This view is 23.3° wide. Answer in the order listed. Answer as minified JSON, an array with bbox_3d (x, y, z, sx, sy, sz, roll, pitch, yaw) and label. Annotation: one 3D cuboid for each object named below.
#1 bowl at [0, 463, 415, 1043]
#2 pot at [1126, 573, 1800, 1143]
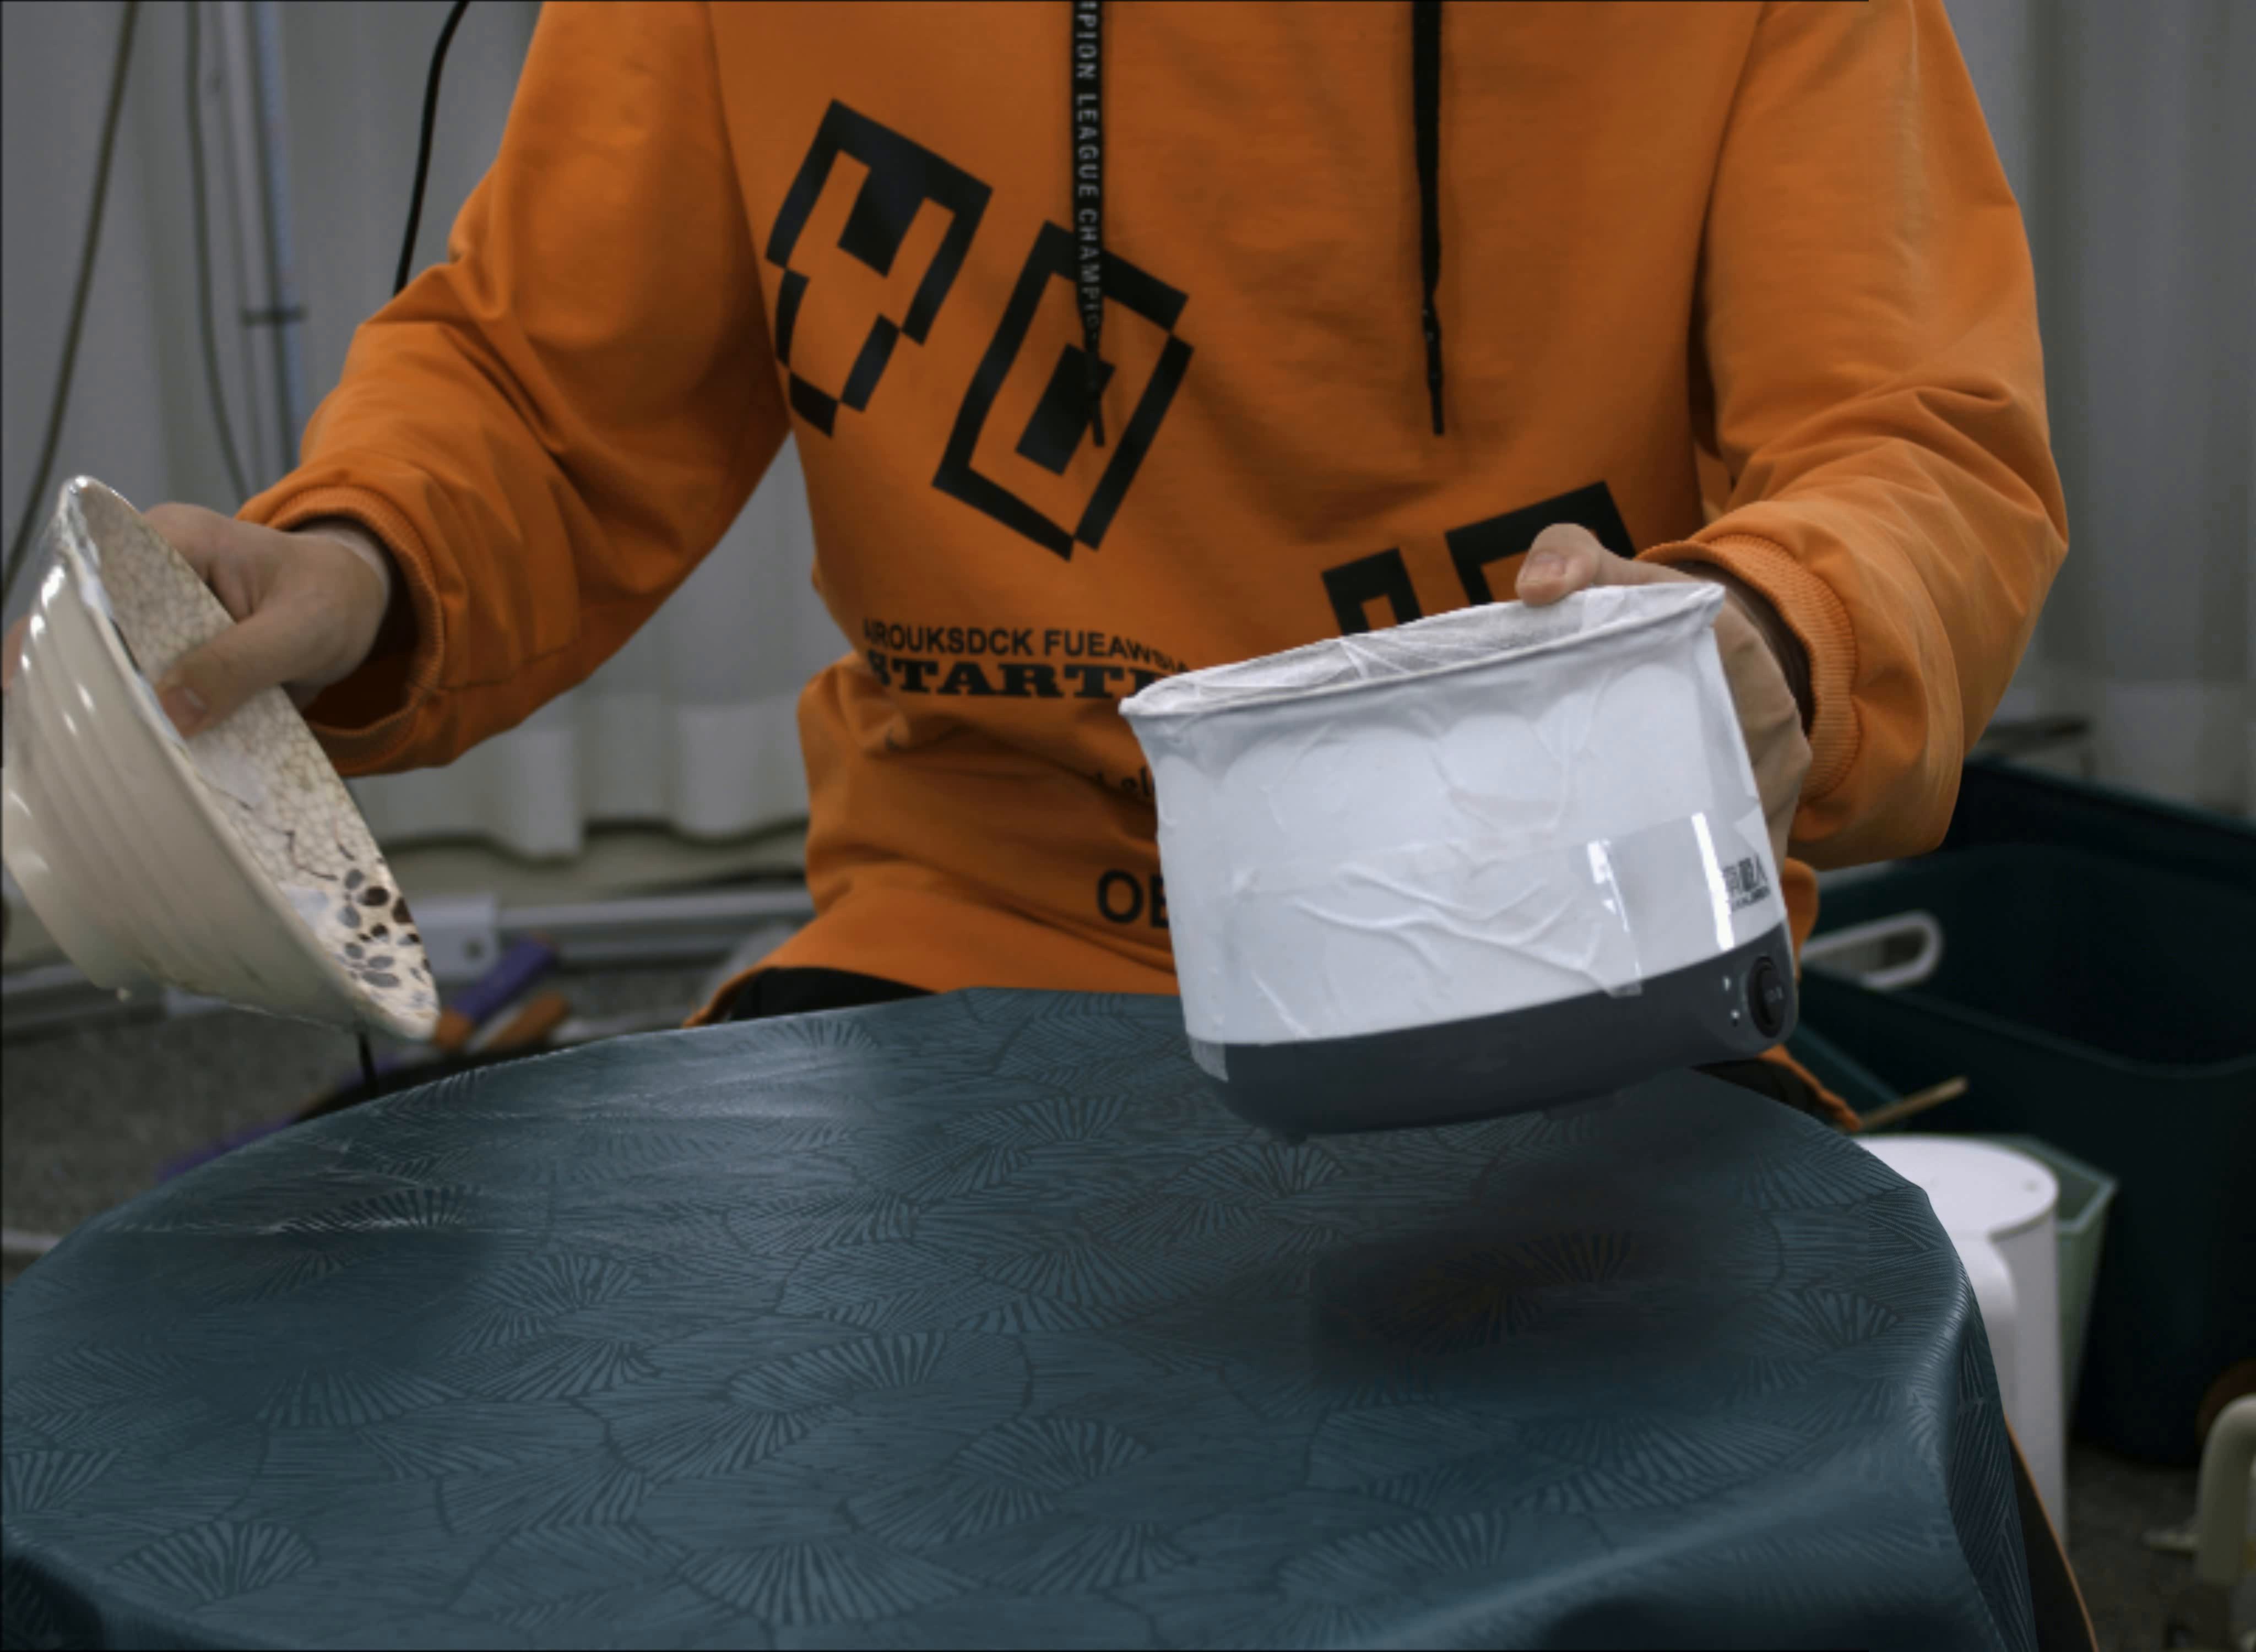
[{"bbox_3d":[-0.302,-0.004,1.680,0.078,0.203,0.205,-30,16,0],"label":"bowl"},{"bbox_3d":[0.110,0.004,1.599,0.178,0.136,0.233,-8,7,30],"label":"pot"}]
